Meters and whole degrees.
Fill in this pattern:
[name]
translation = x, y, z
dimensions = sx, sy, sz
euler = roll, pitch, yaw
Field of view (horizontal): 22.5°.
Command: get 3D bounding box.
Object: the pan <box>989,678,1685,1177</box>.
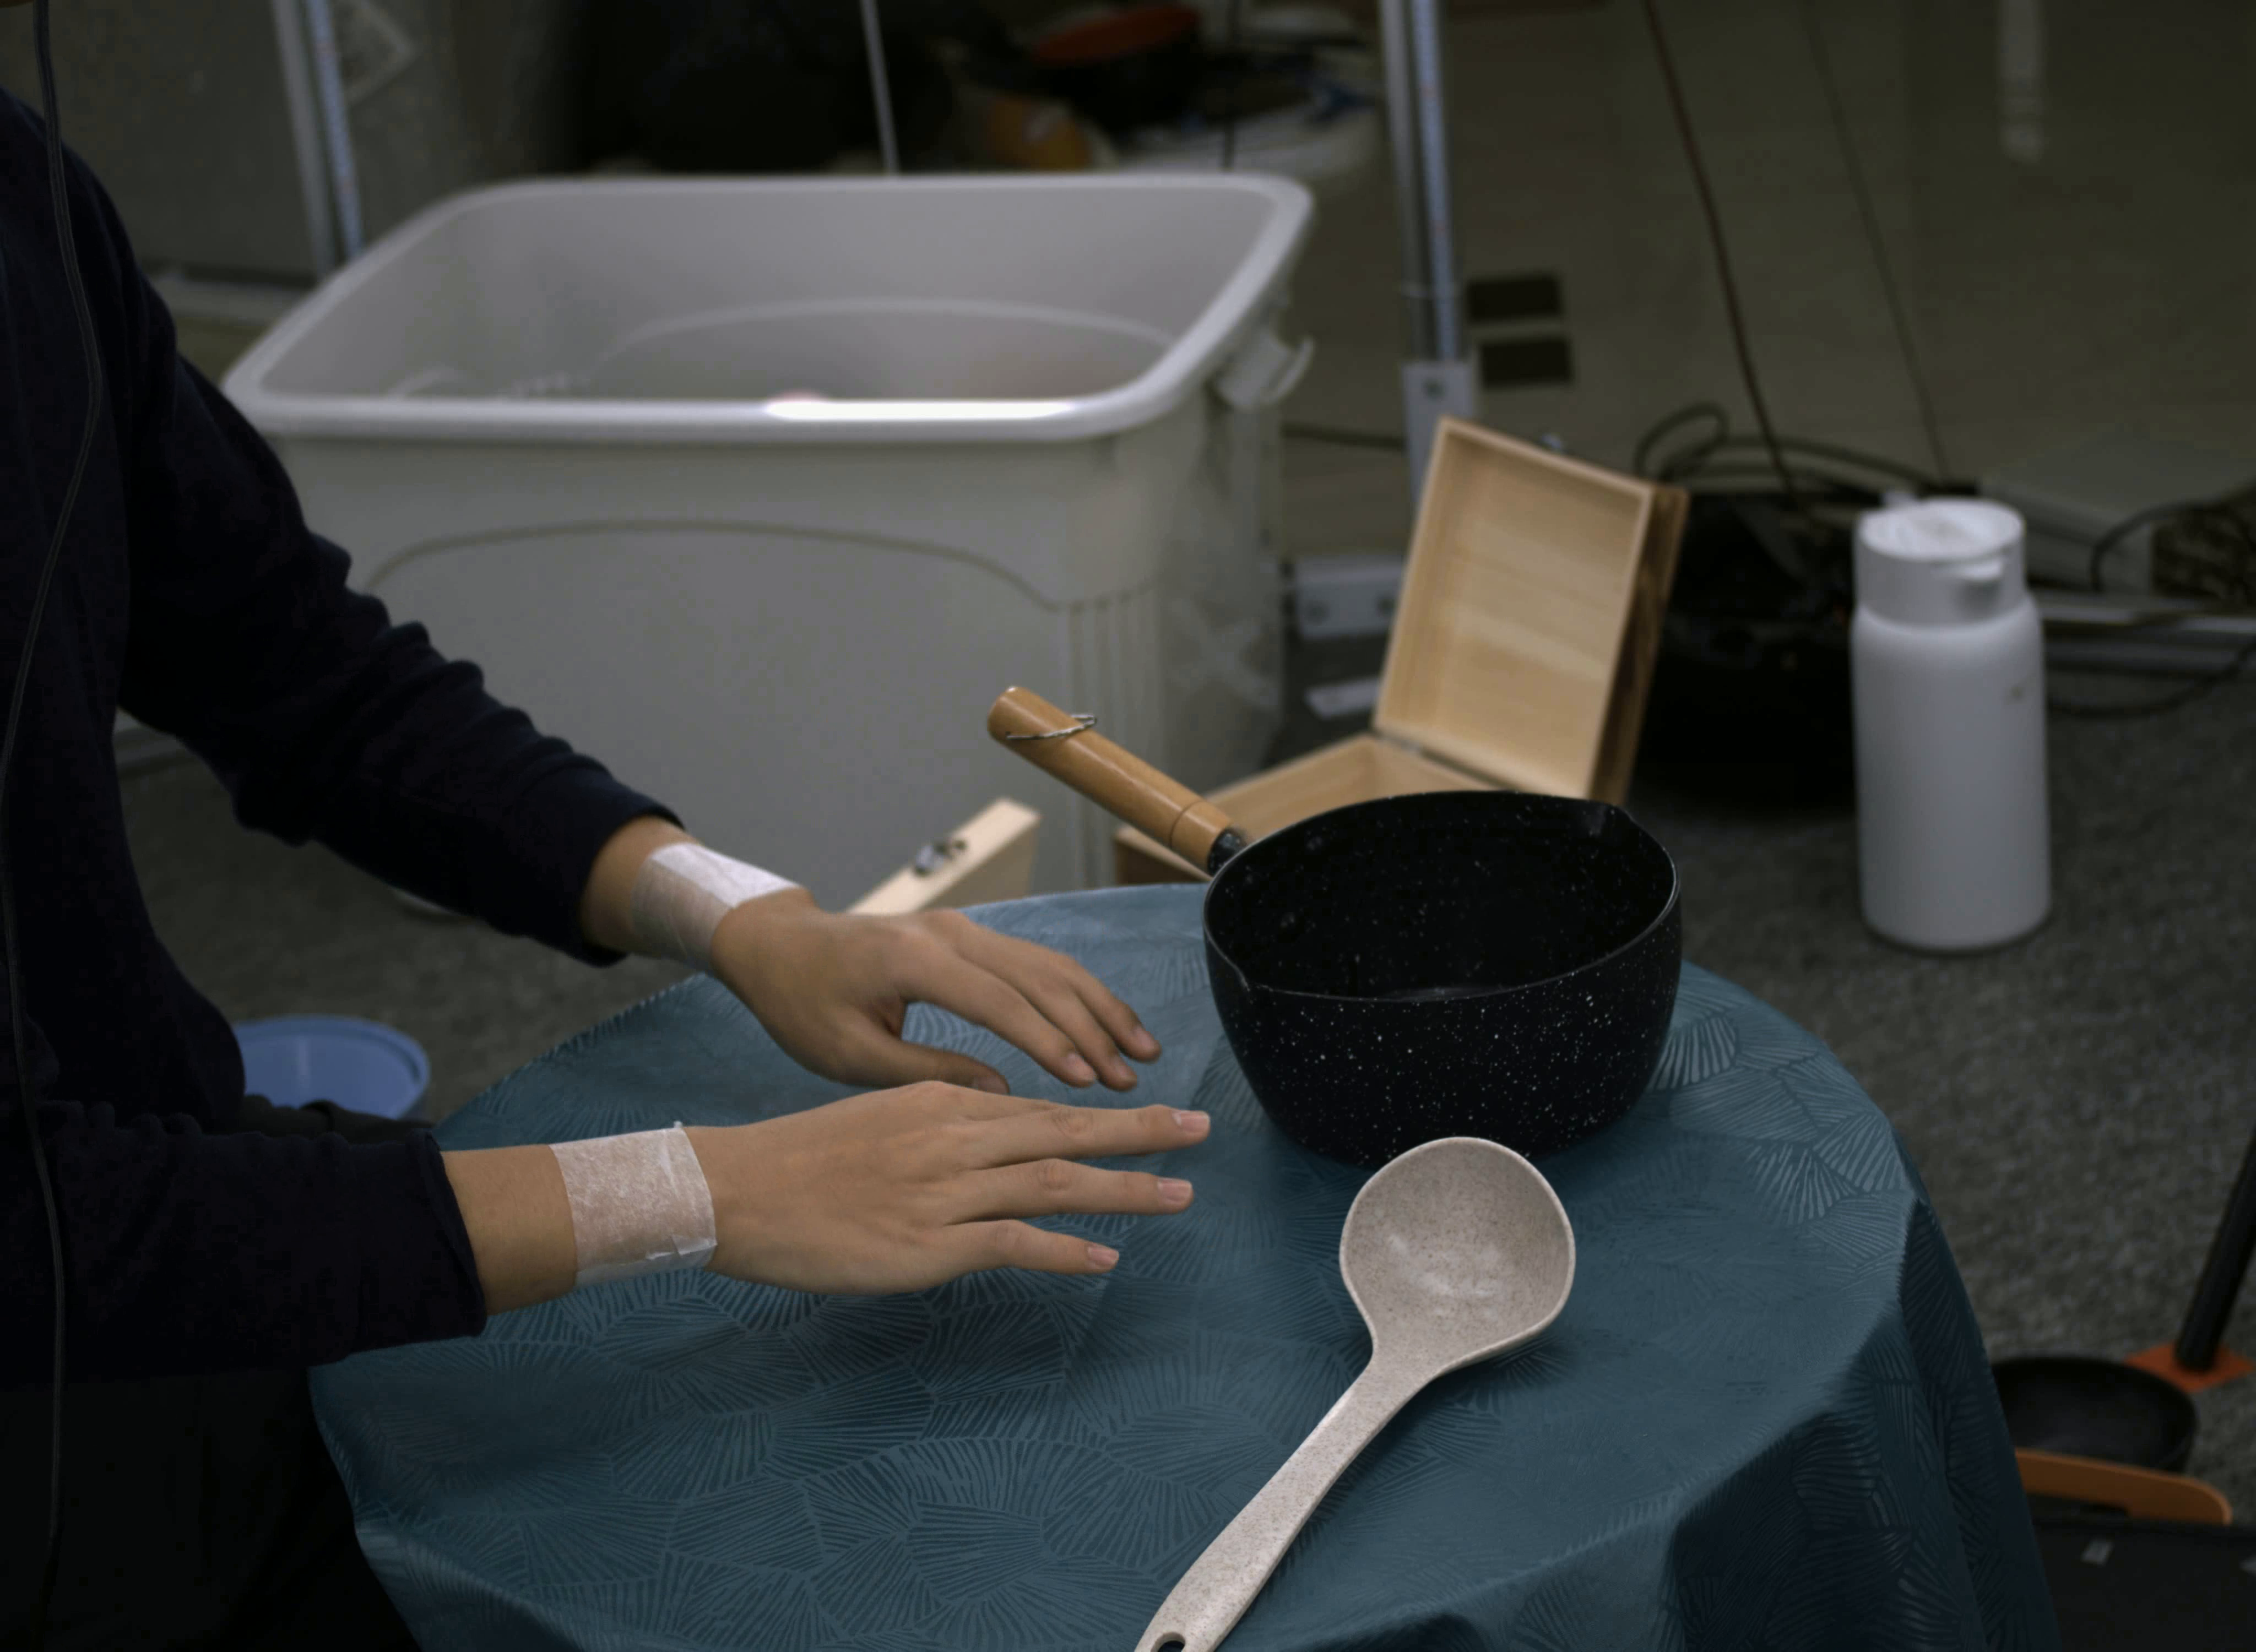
[pan]
translation = 0.067, 0.033, 2.228
dimensions = 0.205, 0.110, 0.340
euler = -28, 34, -36

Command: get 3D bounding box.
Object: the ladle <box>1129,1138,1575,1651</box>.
[ladle]
translation = 0.064, 0.200, 1.928
dimensions = 0.089, 0.070, 0.271
euler = 17, 35, 24
